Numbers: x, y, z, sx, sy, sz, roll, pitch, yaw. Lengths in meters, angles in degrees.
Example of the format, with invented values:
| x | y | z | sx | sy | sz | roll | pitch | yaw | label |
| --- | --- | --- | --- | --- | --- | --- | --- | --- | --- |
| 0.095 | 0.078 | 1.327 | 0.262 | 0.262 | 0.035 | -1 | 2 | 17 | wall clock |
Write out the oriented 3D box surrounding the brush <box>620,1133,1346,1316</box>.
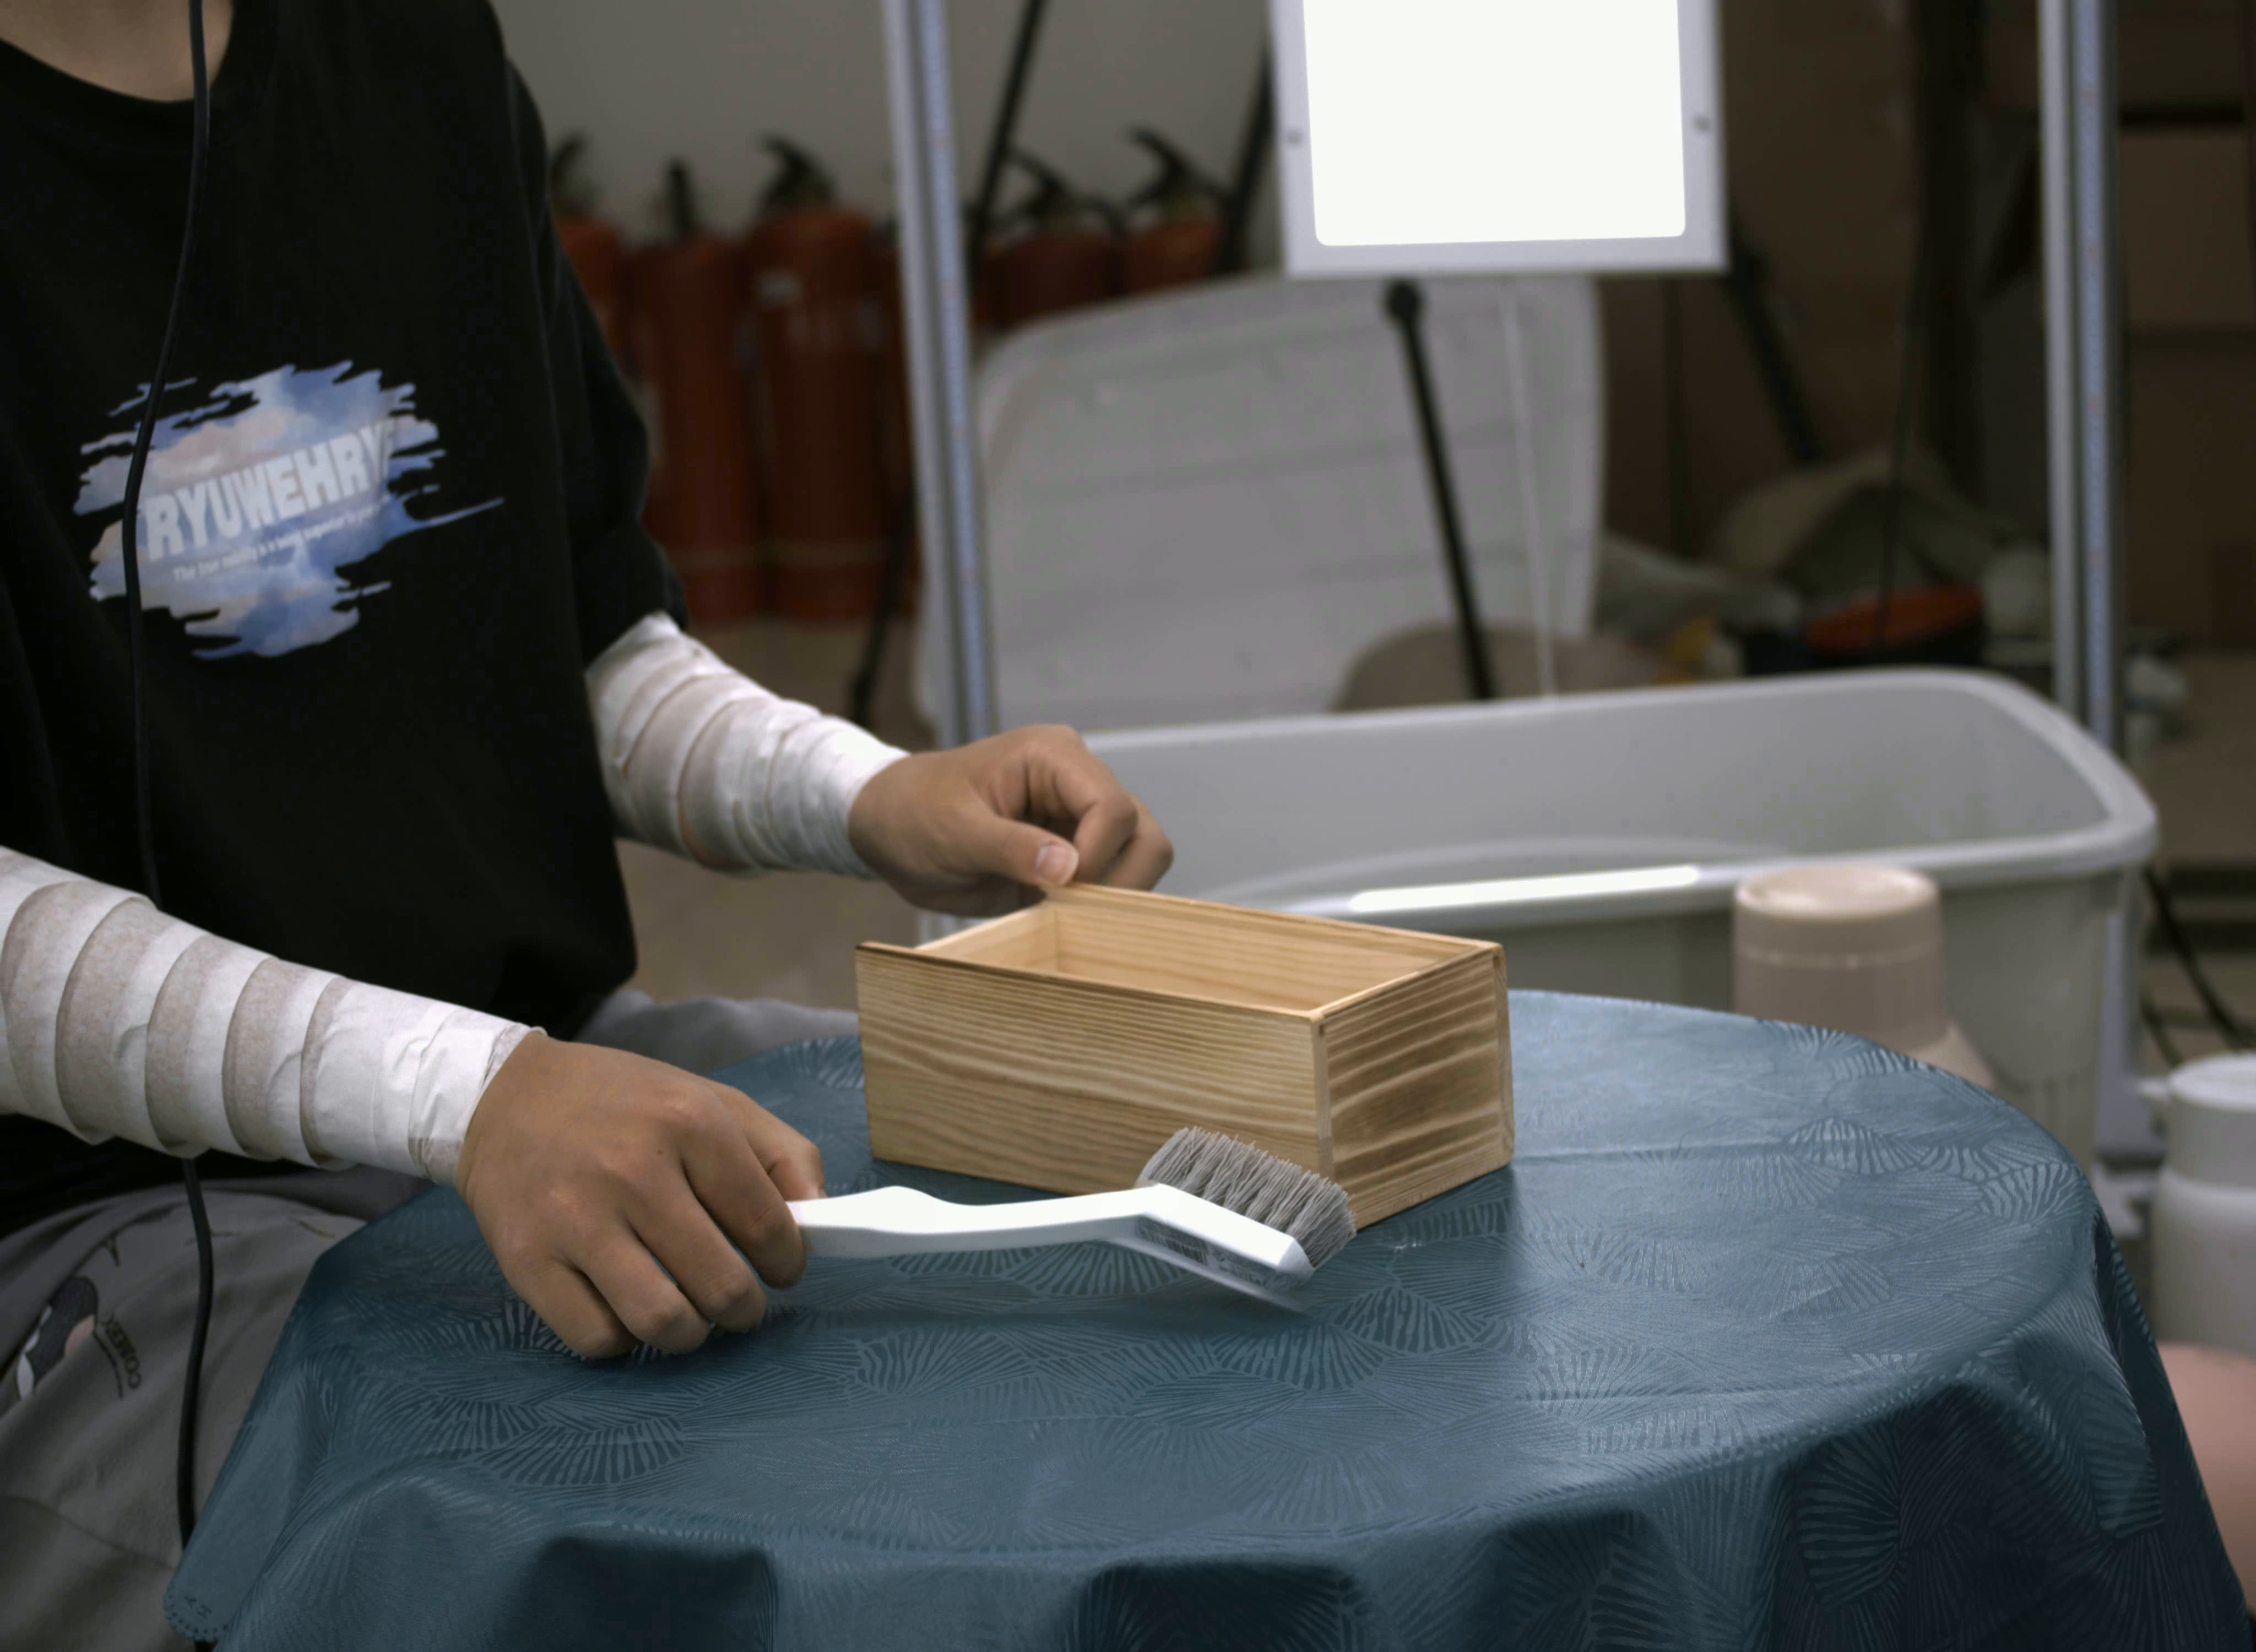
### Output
| x | y | z | sx | sy | sz | roll | pitch | yaw | label |
| --- | --- | --- | --- | --- | --- | --- | --- | --- | --- |
| -0.048 | 0.119 | 1.793 | 0.247 | 0.034 | 0.050 | 5 | 58 | 21 | brush |

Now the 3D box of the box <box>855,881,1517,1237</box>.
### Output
| x | y | z | sx | sy | sz | roll | pitch | yaw | label |
| --- | --- | --- | --- | --- | --- | --- | --- | --- | --- |
| 0.019 | 0.079 | 1.918 | 0.216 | 0.080 | 0.105 | 6 | 18 | 42 | box |
